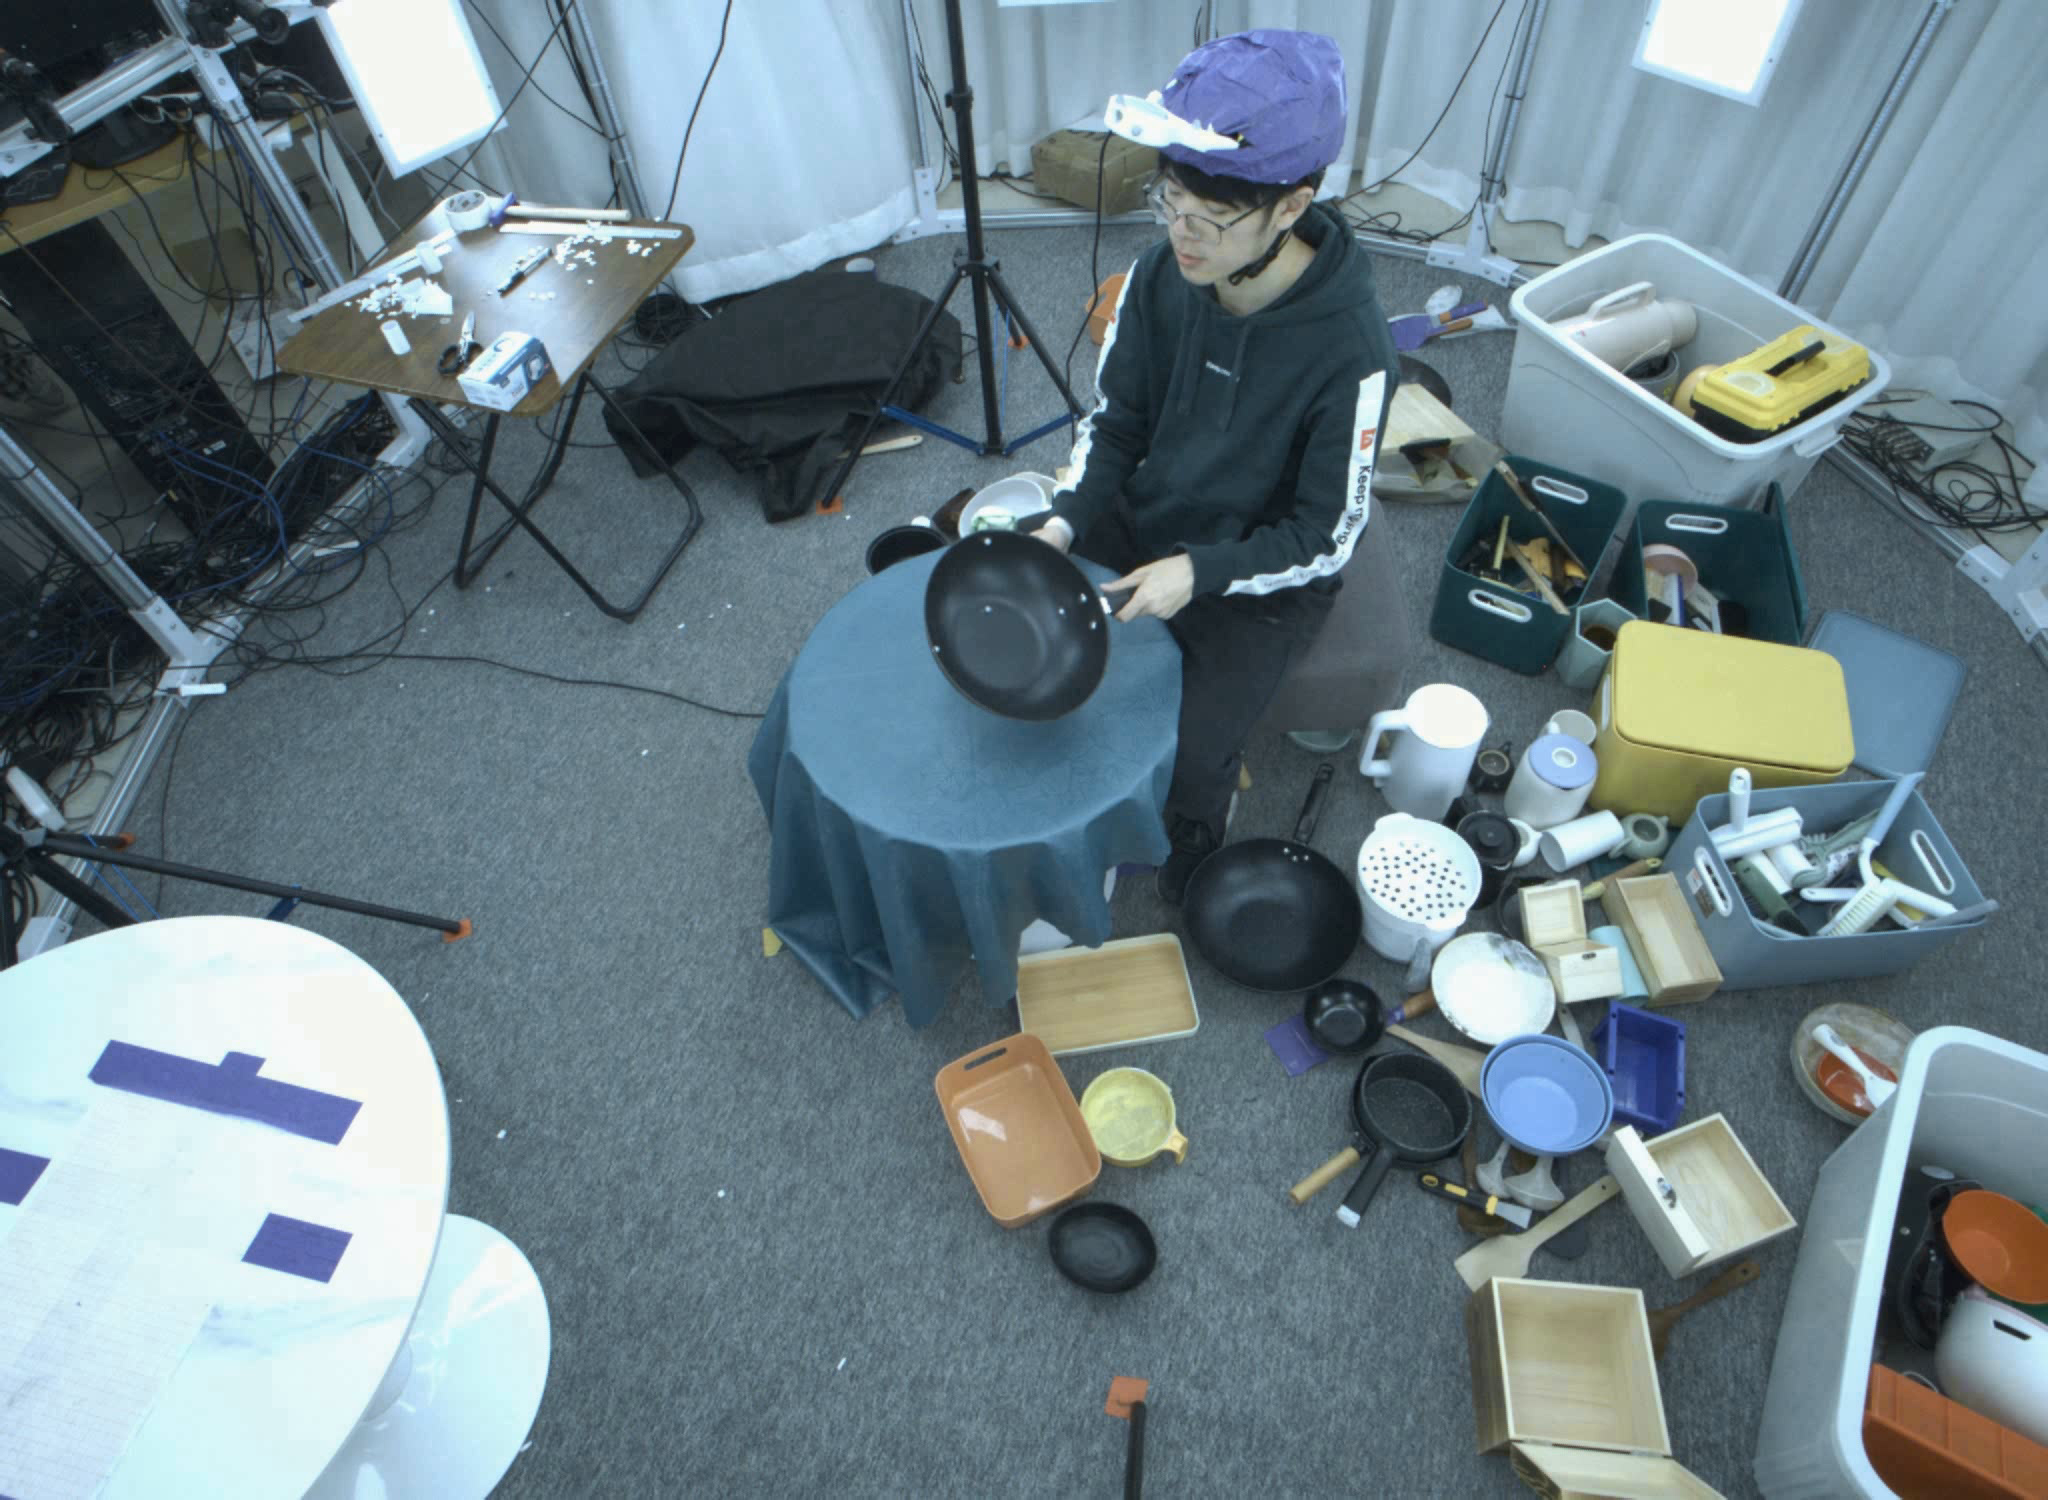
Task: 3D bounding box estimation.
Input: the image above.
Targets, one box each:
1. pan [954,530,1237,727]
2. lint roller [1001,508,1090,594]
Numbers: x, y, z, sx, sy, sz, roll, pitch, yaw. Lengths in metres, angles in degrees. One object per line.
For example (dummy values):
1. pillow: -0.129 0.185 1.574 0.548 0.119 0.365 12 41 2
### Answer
1. pan: 0.098 -0.178 1.741 0.471 0.086 0.287 -15 82 -30
2. lint roller: 0.021 -0.270 1.815 0.080 0.199 0.186 32 36 30
